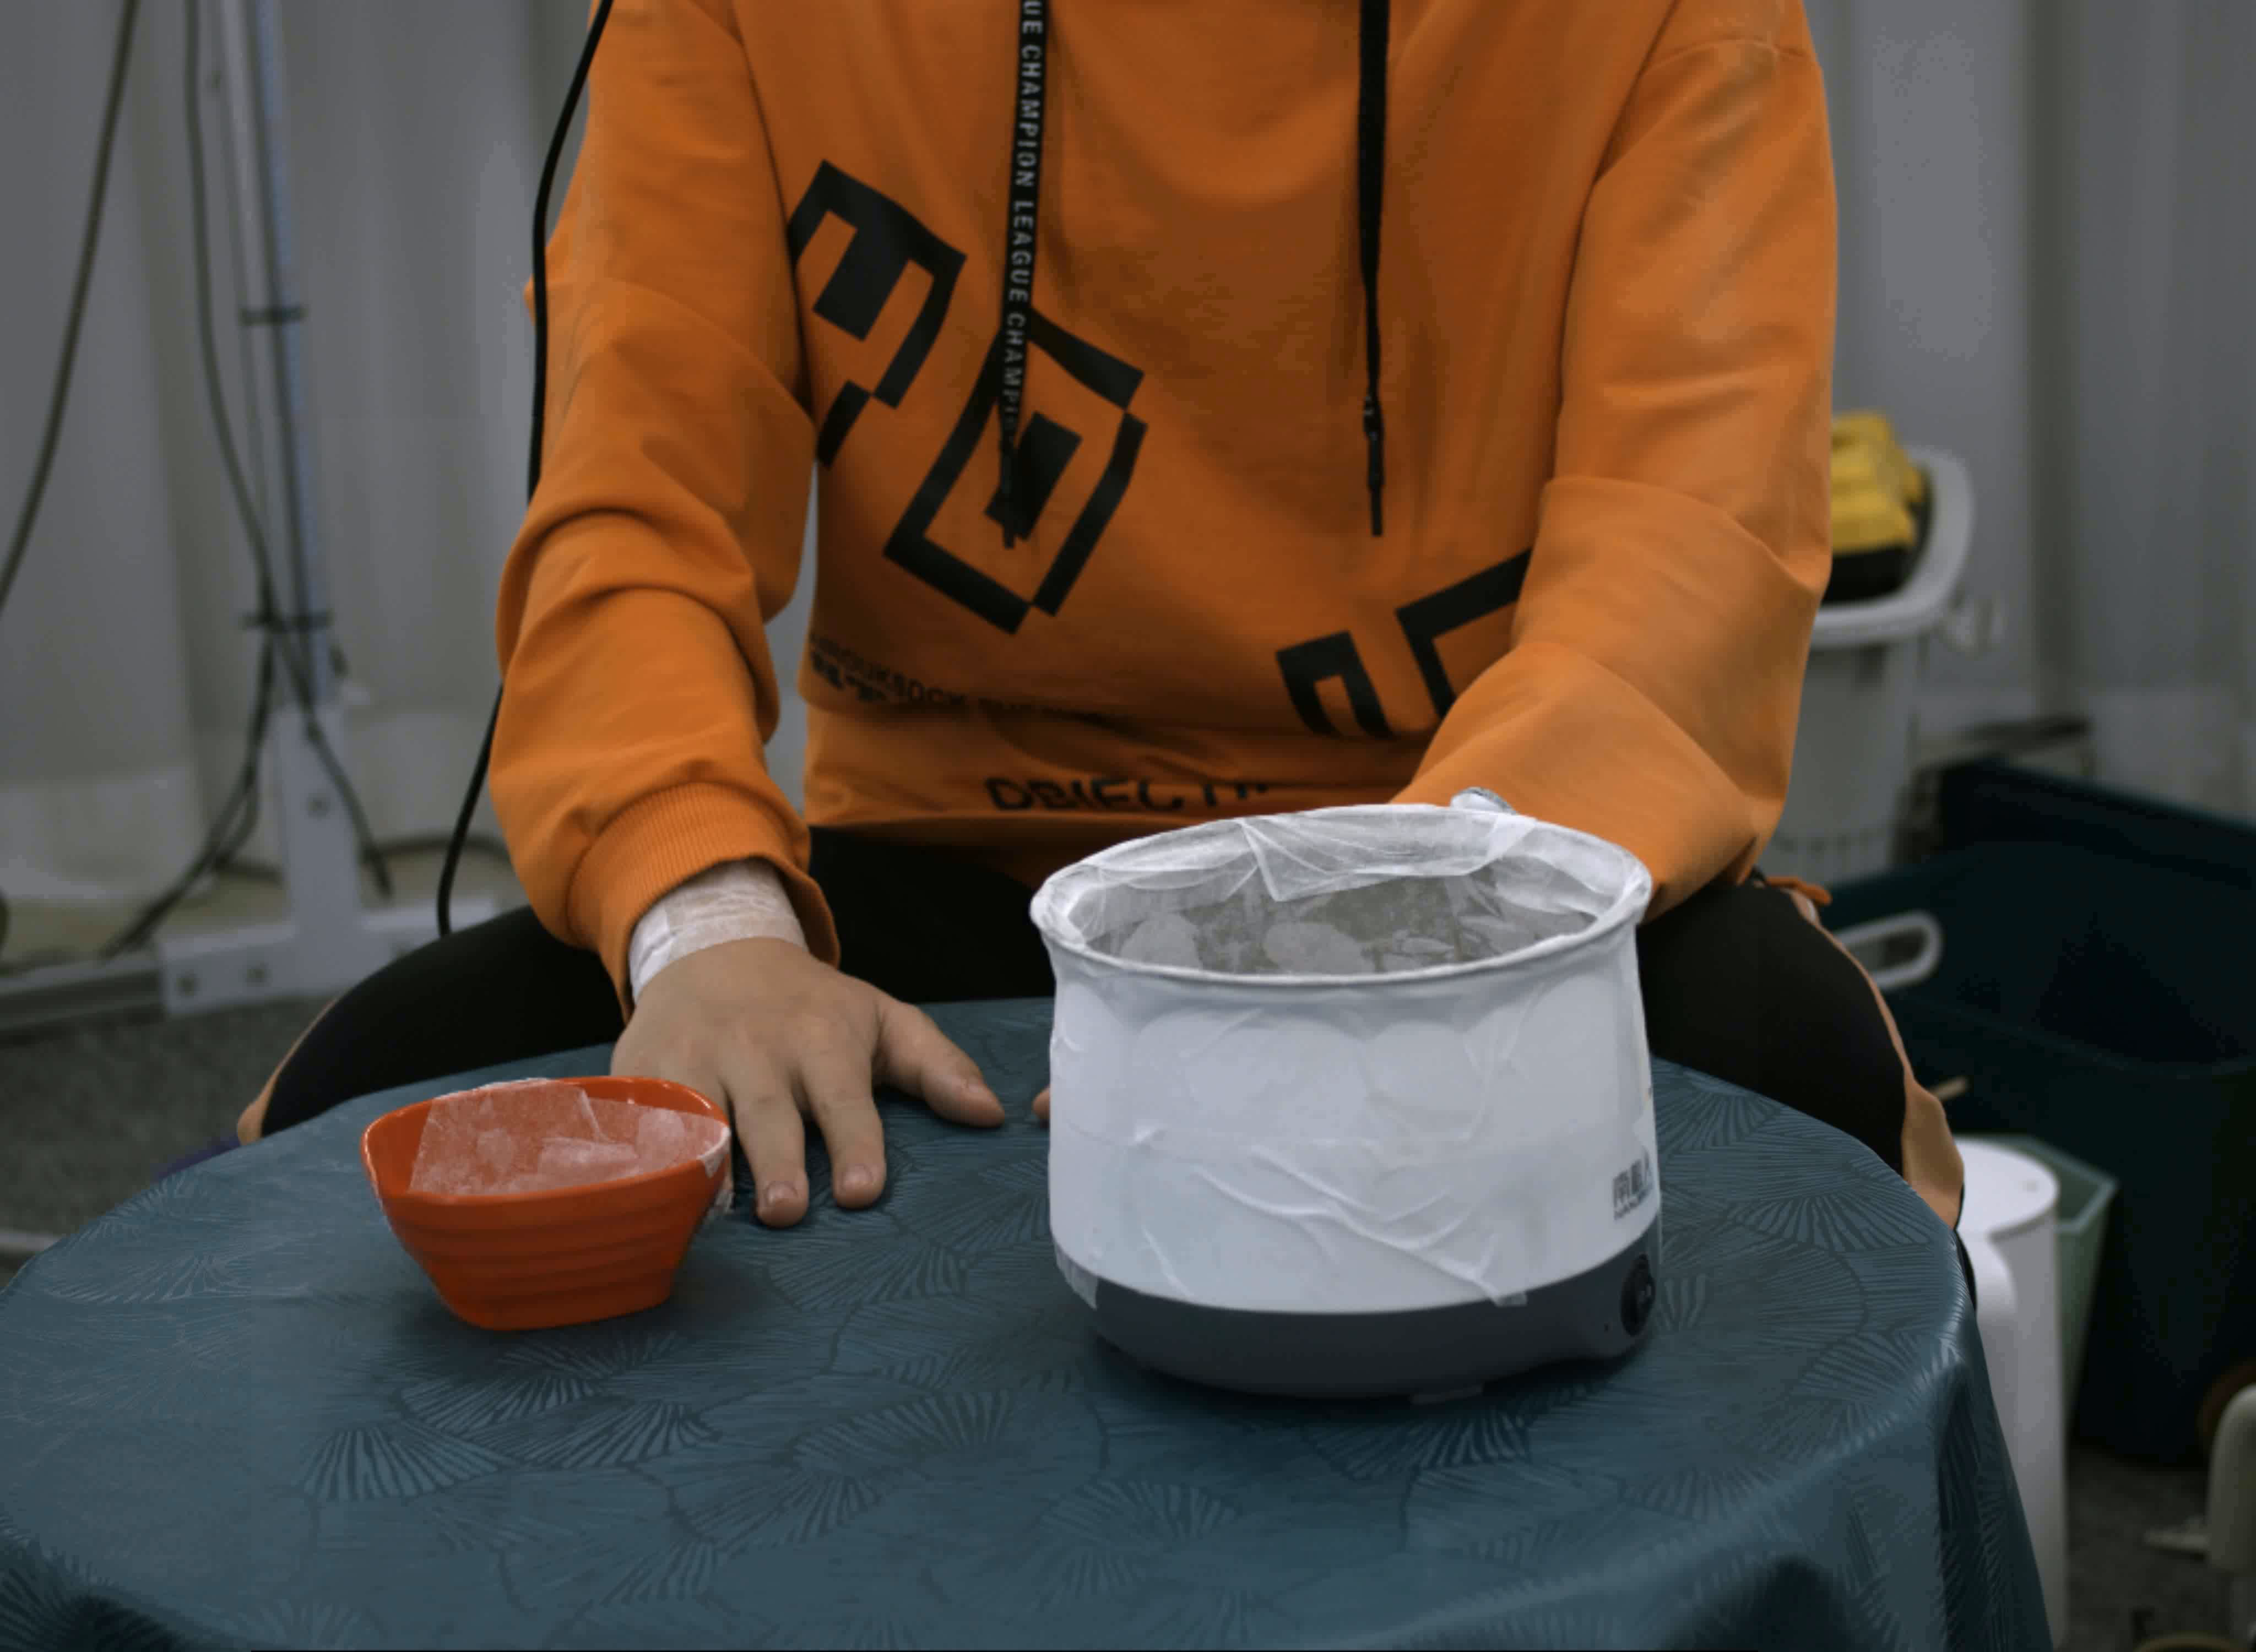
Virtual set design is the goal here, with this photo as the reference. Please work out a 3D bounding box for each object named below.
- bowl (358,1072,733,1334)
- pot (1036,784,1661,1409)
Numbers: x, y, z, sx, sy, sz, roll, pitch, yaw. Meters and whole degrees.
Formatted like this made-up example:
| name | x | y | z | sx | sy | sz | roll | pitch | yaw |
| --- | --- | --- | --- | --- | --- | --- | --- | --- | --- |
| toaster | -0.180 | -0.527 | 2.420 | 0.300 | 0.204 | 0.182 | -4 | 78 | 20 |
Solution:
| name | x | y | z | sx | sy | sz | roll | pitch | yaw |
| --- | --- | --- | --- | --- | --- | --- | --- | --- | --- |
| bowl | -0.174 | 0.116 | 1.648 | 0.118 | 0.051 | 0.120 | -4 | 16 | 1 |
| pot | 0.076 | 0.072 | 1.596 | 0.179 | 0.136 | 0.234 | 4 | 17 | 25 |
